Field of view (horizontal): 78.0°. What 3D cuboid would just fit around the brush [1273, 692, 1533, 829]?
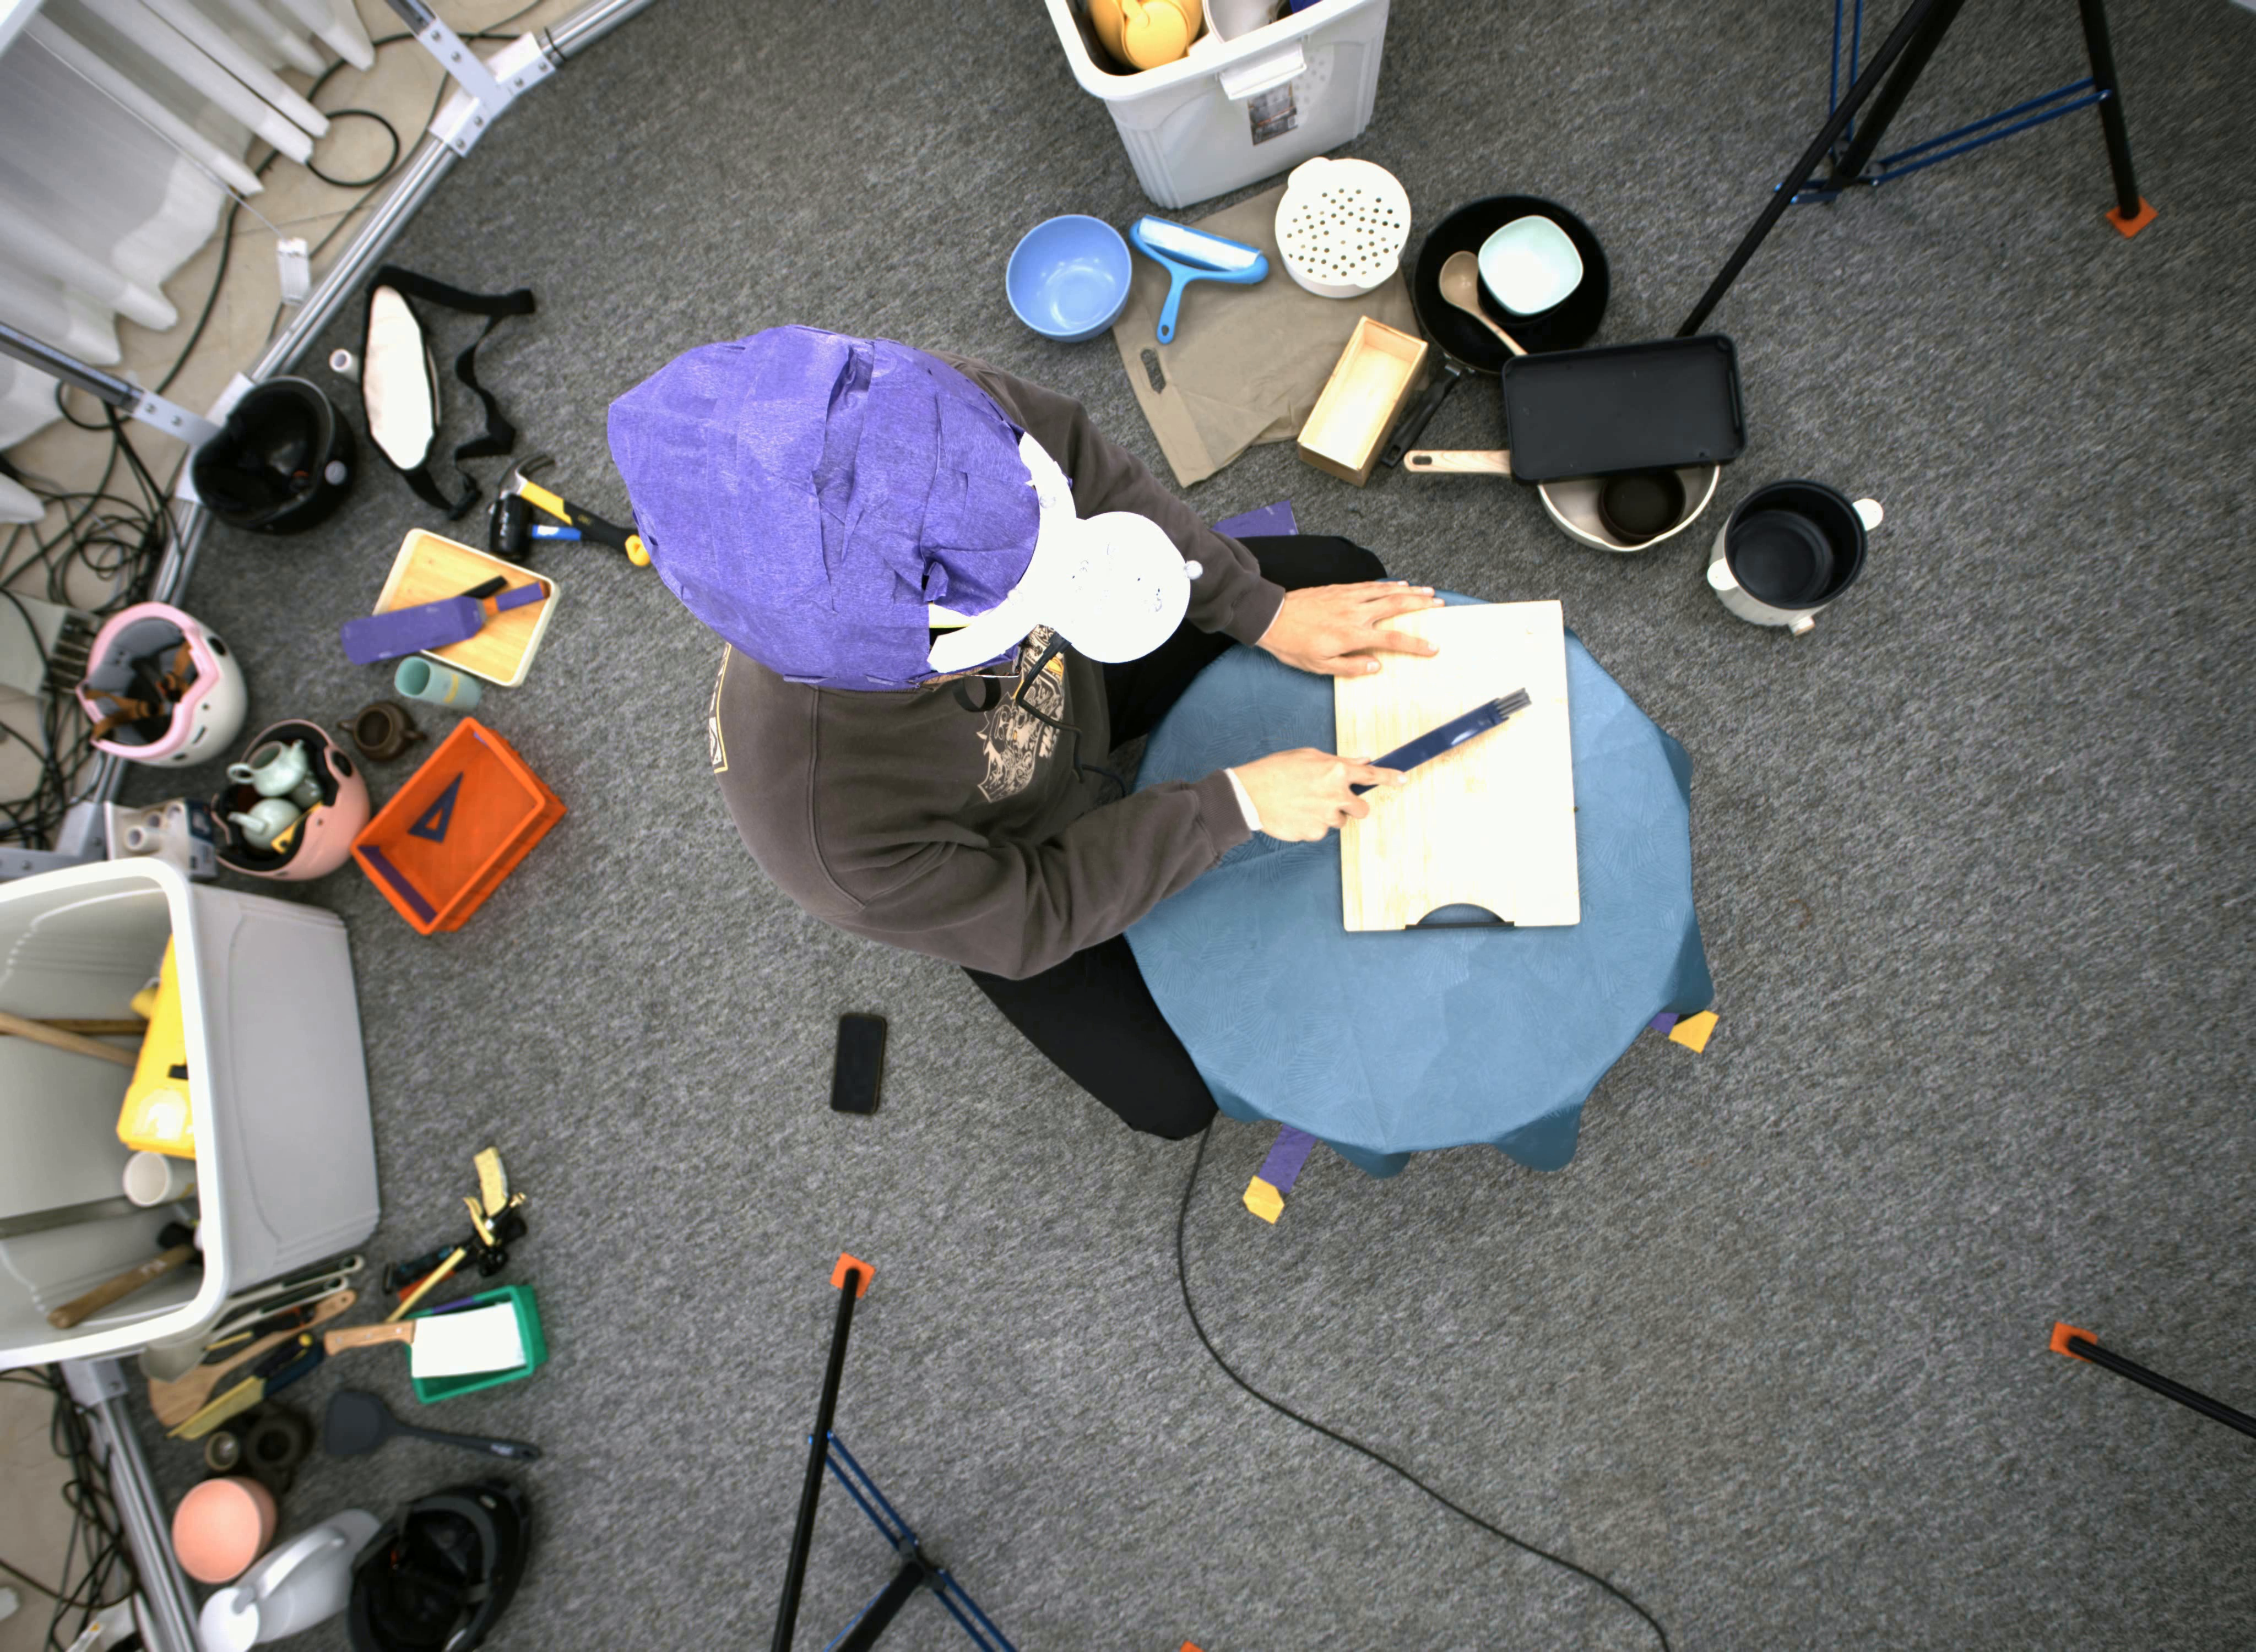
[{"bbox_3d":[0.272,-0.071,1.363,0.270,0.096,0.033,-26,94,-19],"label":"brush"}]

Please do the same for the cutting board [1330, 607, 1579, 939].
[{"bbox_3d":[0.340,-0.059,1.443,0.252,0.023,0.347,-3,87,11],"label":"cutting board"}]
